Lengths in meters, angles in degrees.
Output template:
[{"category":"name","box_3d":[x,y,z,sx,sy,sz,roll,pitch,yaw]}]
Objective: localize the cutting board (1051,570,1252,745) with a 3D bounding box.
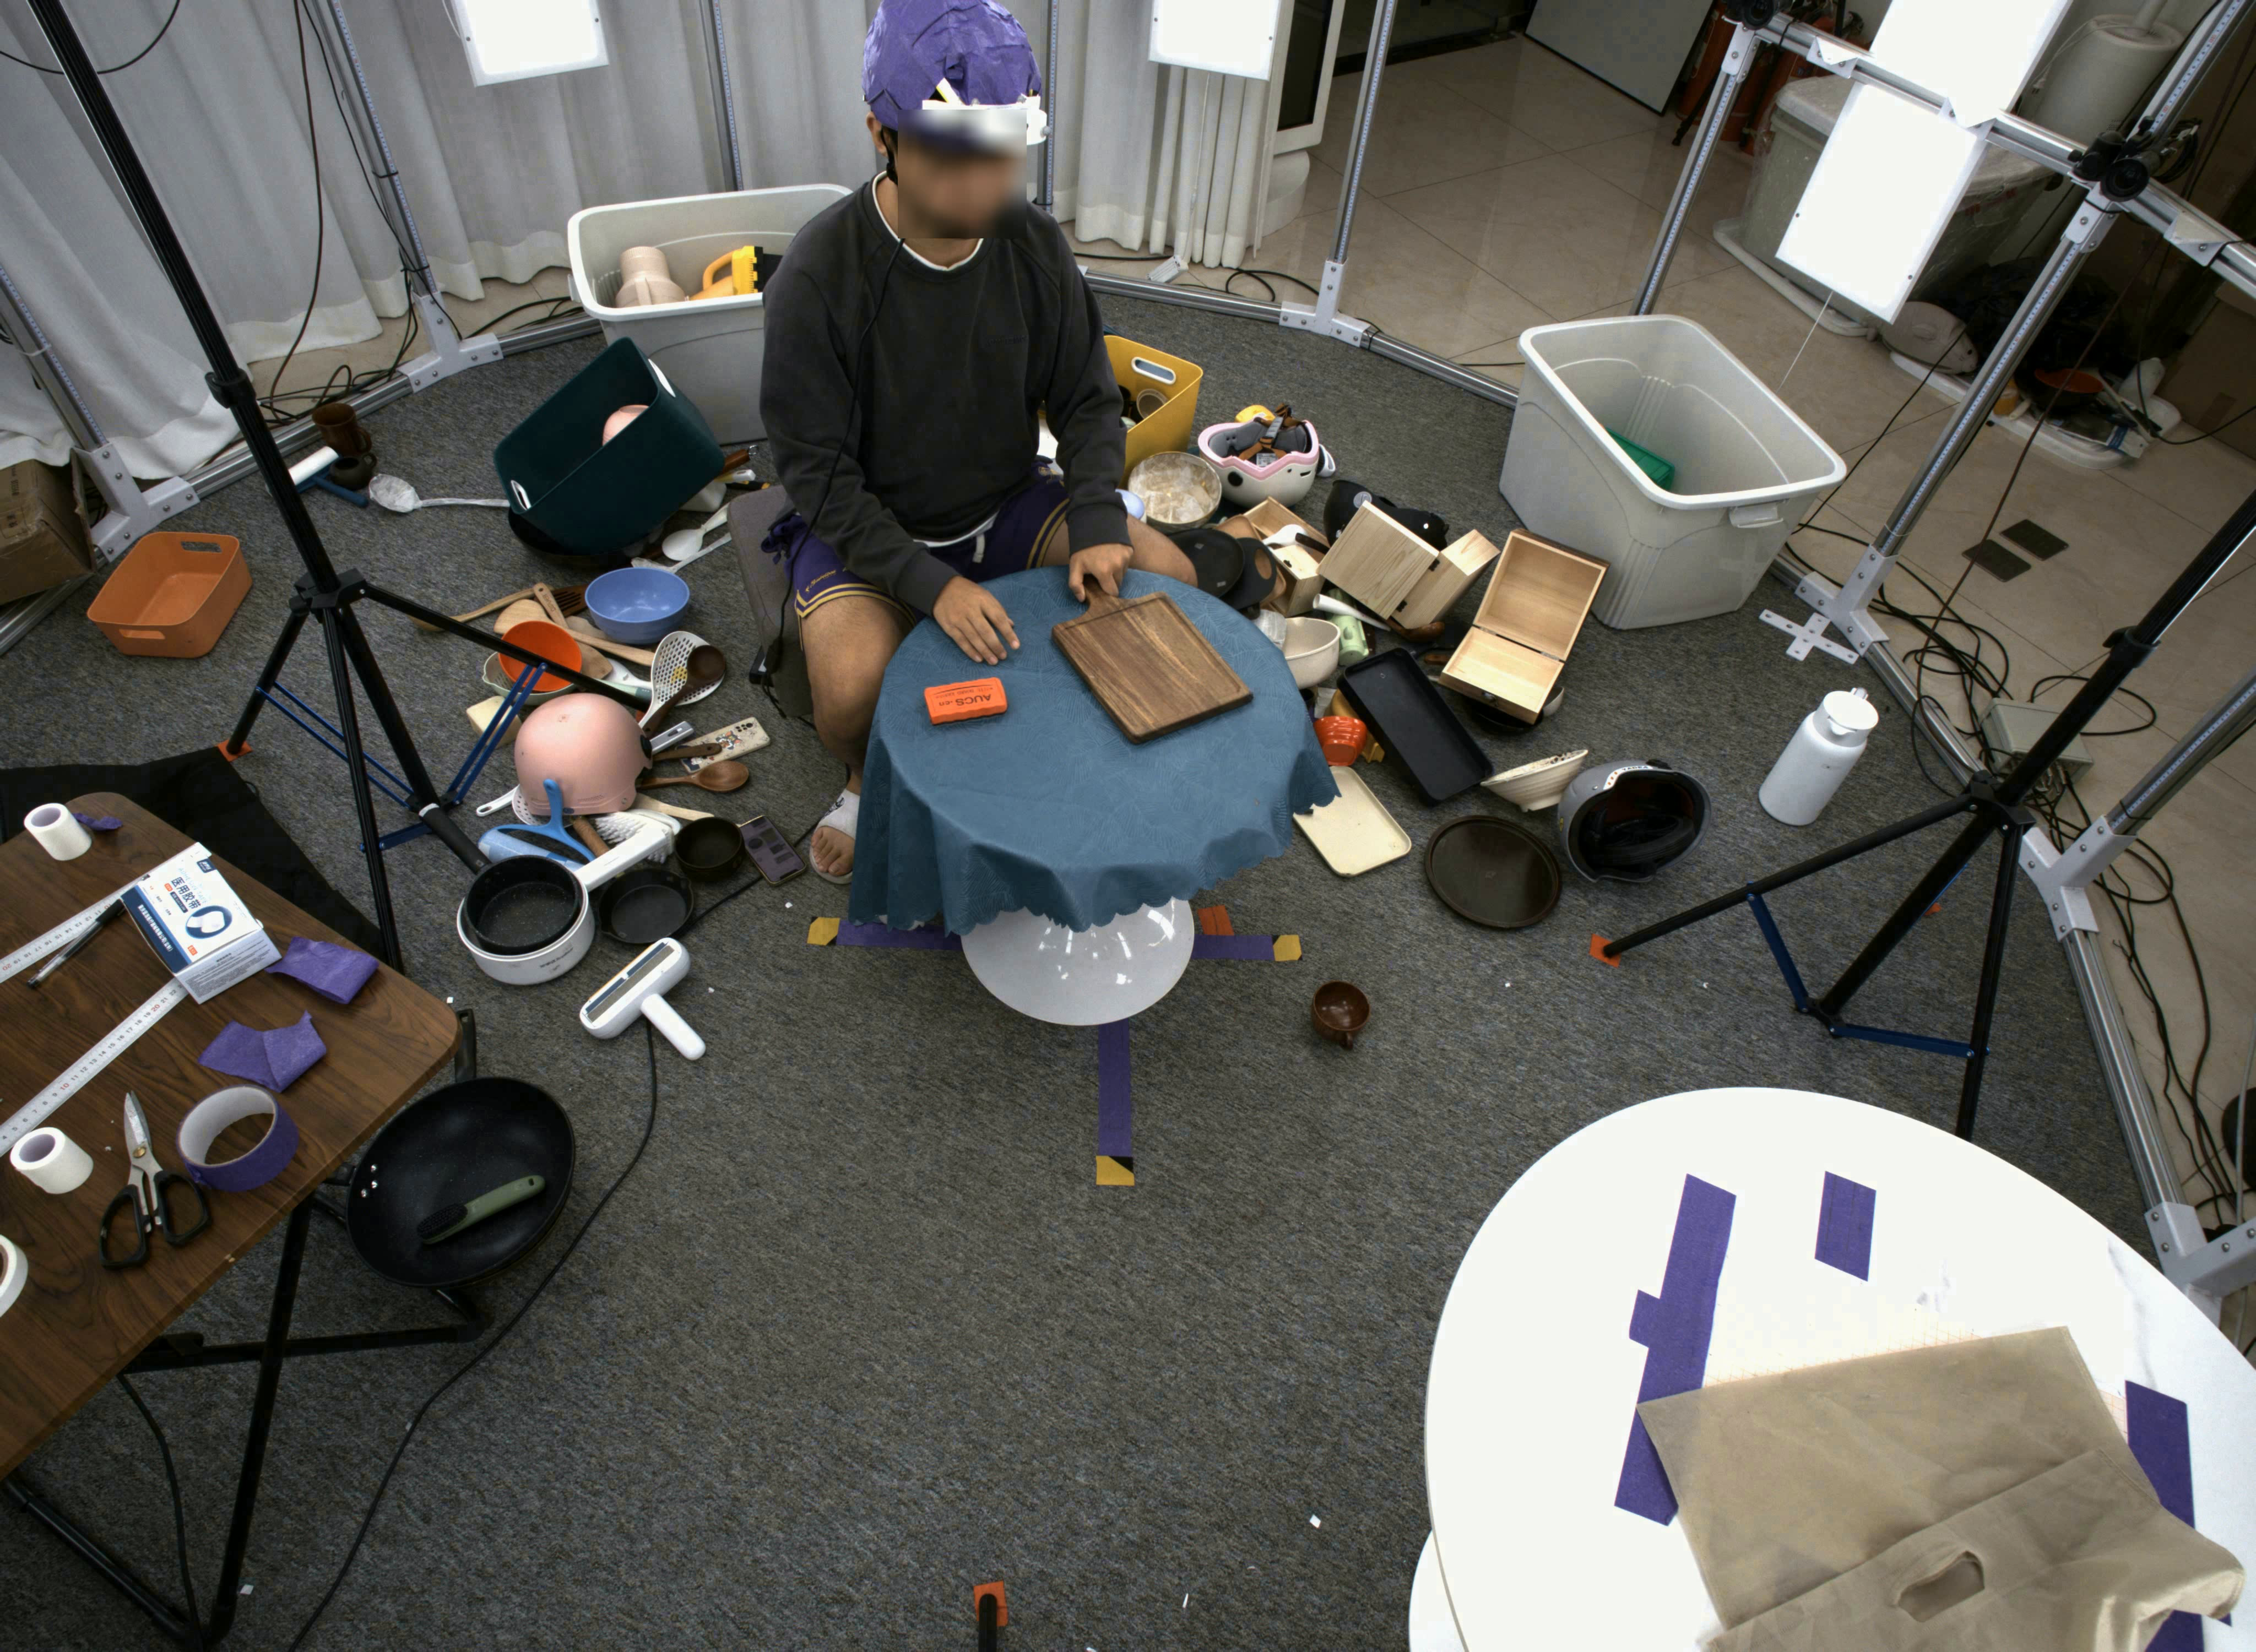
[{"category":"cutting board","box_3d":[0.007,-0.269,1.887,0.201,0.022,0.359,-22,53,-21]}]

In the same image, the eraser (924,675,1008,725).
[{"category":"eraser","box_3d":[-0.225,-0.175,1.784,0.108,0.022,0.060,-12,50,-12]}]
